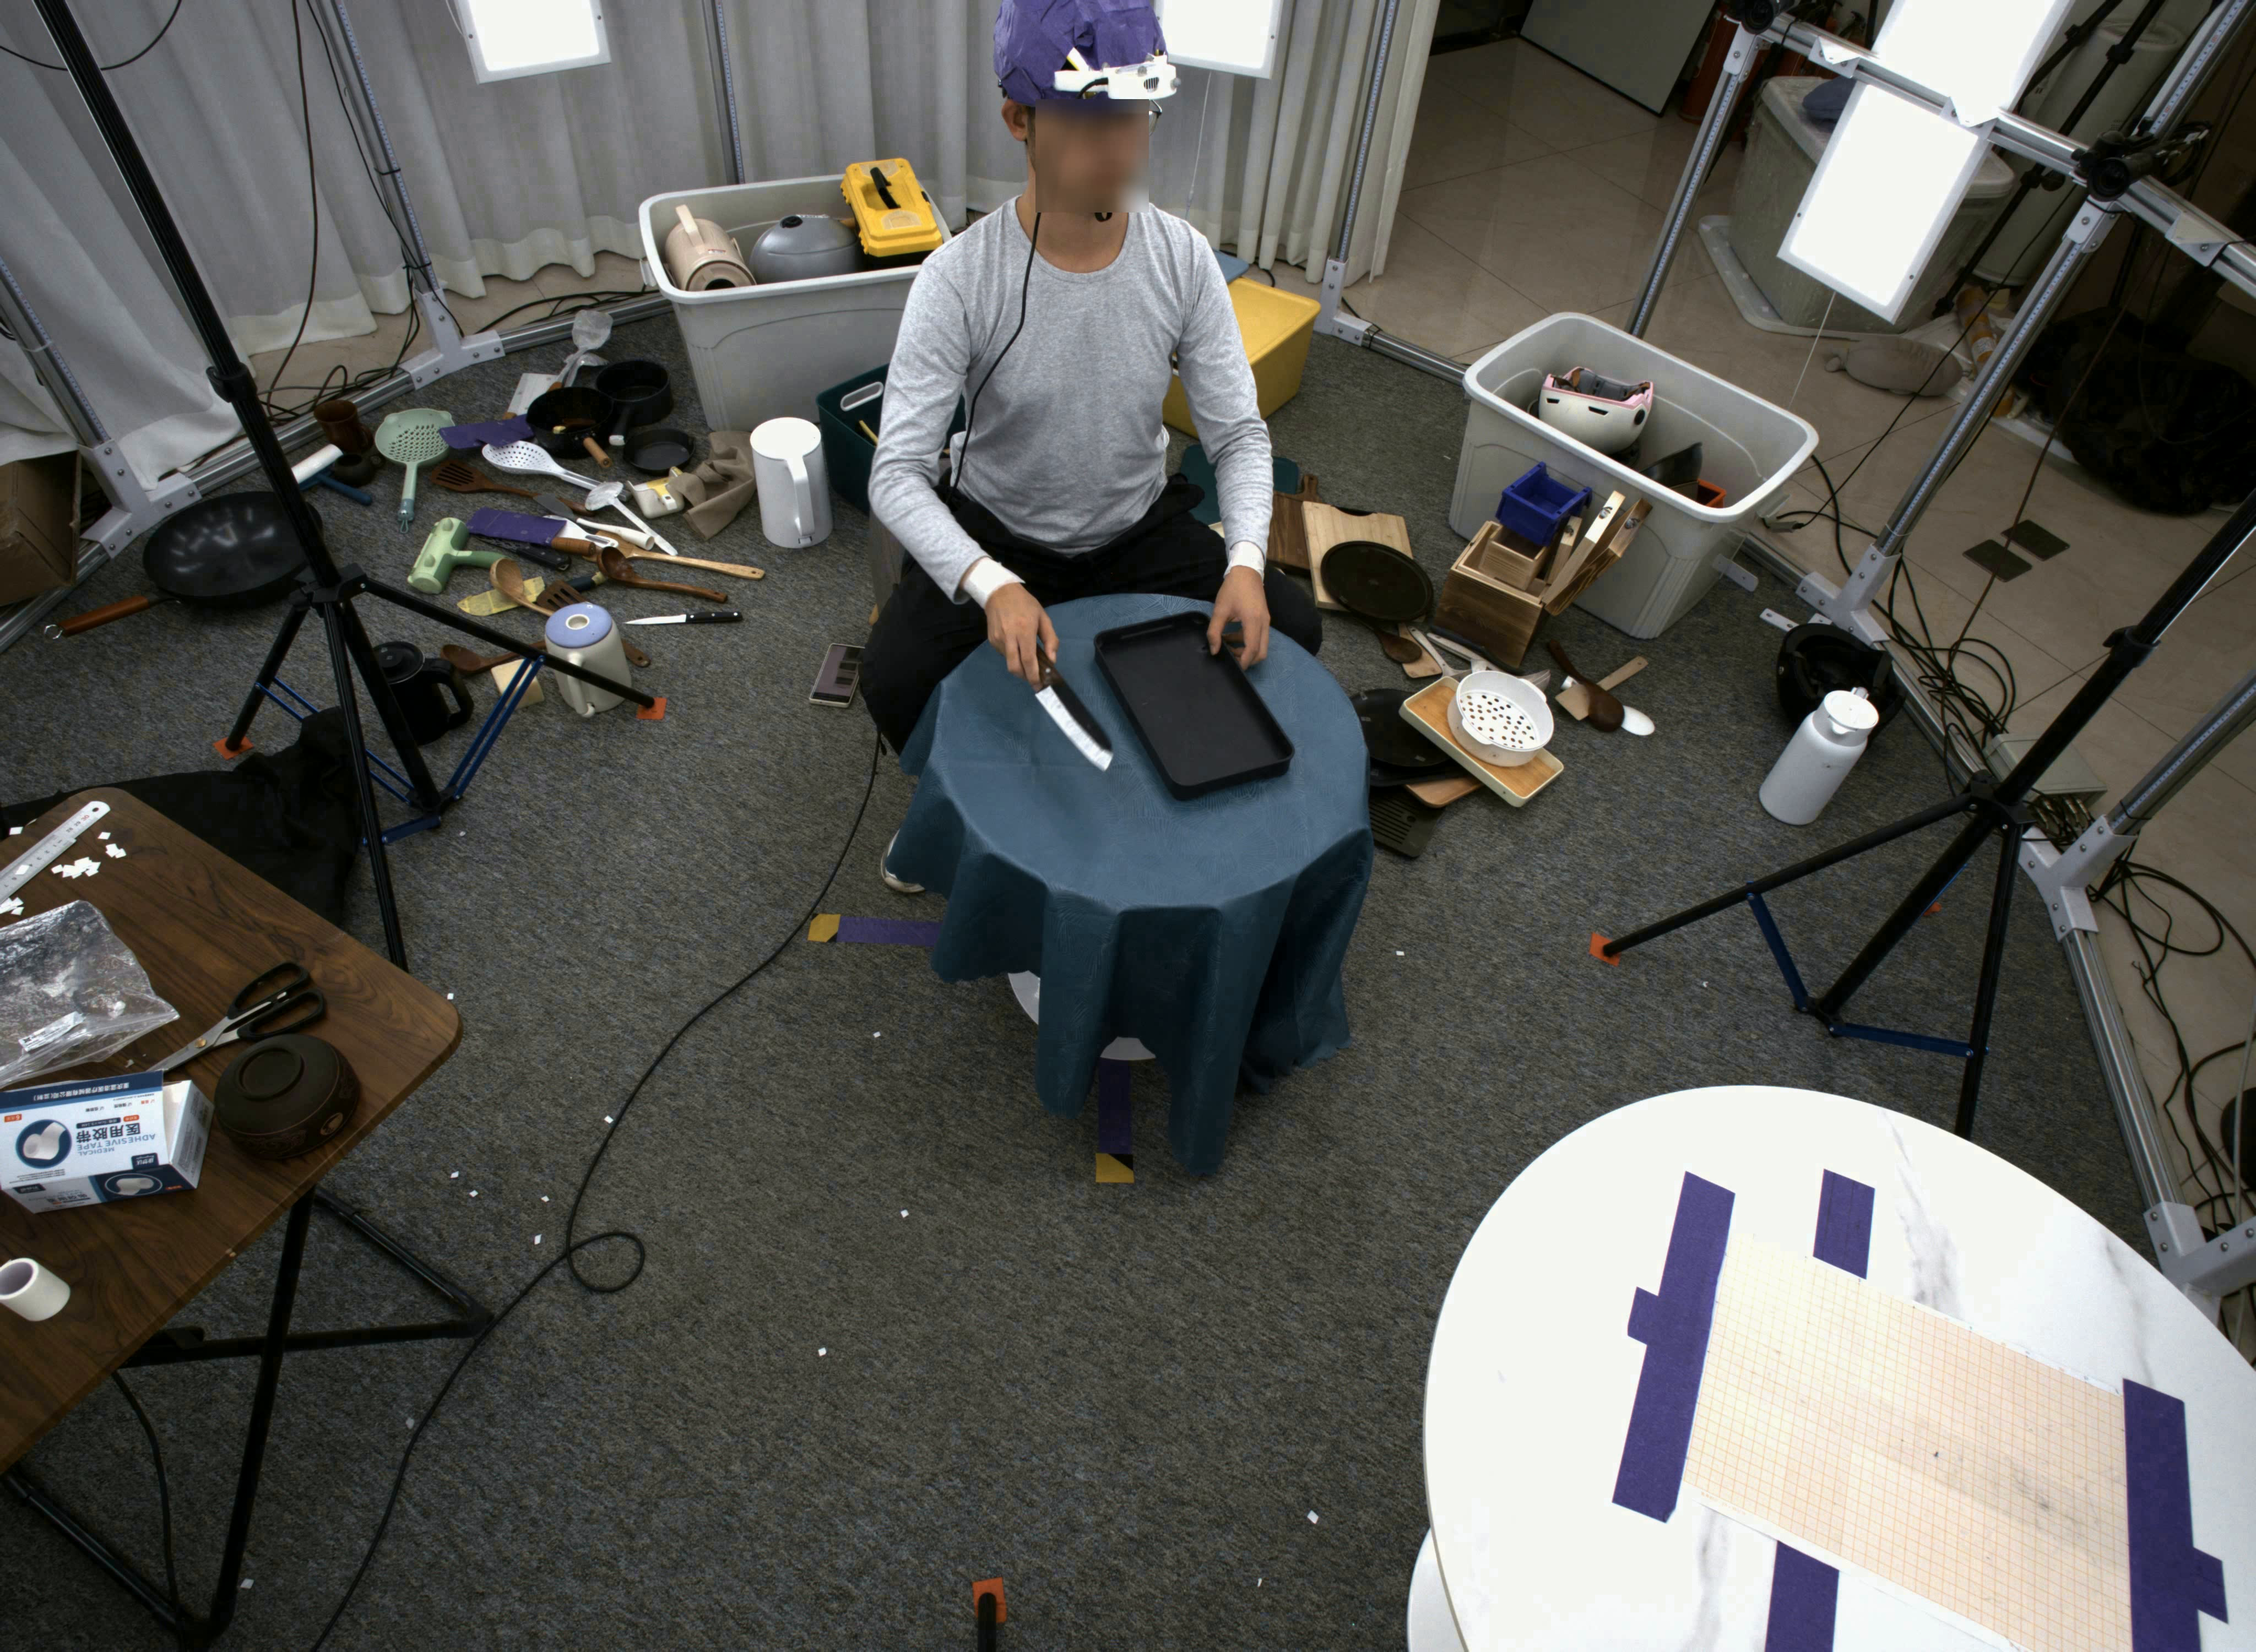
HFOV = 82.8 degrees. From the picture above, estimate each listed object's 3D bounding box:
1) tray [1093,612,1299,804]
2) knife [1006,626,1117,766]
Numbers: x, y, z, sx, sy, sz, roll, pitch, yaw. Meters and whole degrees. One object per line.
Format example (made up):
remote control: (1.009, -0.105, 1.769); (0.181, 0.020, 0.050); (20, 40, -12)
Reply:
tray: (0.089, -0.172, 1.798); (0.184, 0.036, 0.325); (-17, 52, -18)
knife: (-0.090, -0.174, 1.690); (0.050, 0.019, 0.295); (-31, 54, -7)
